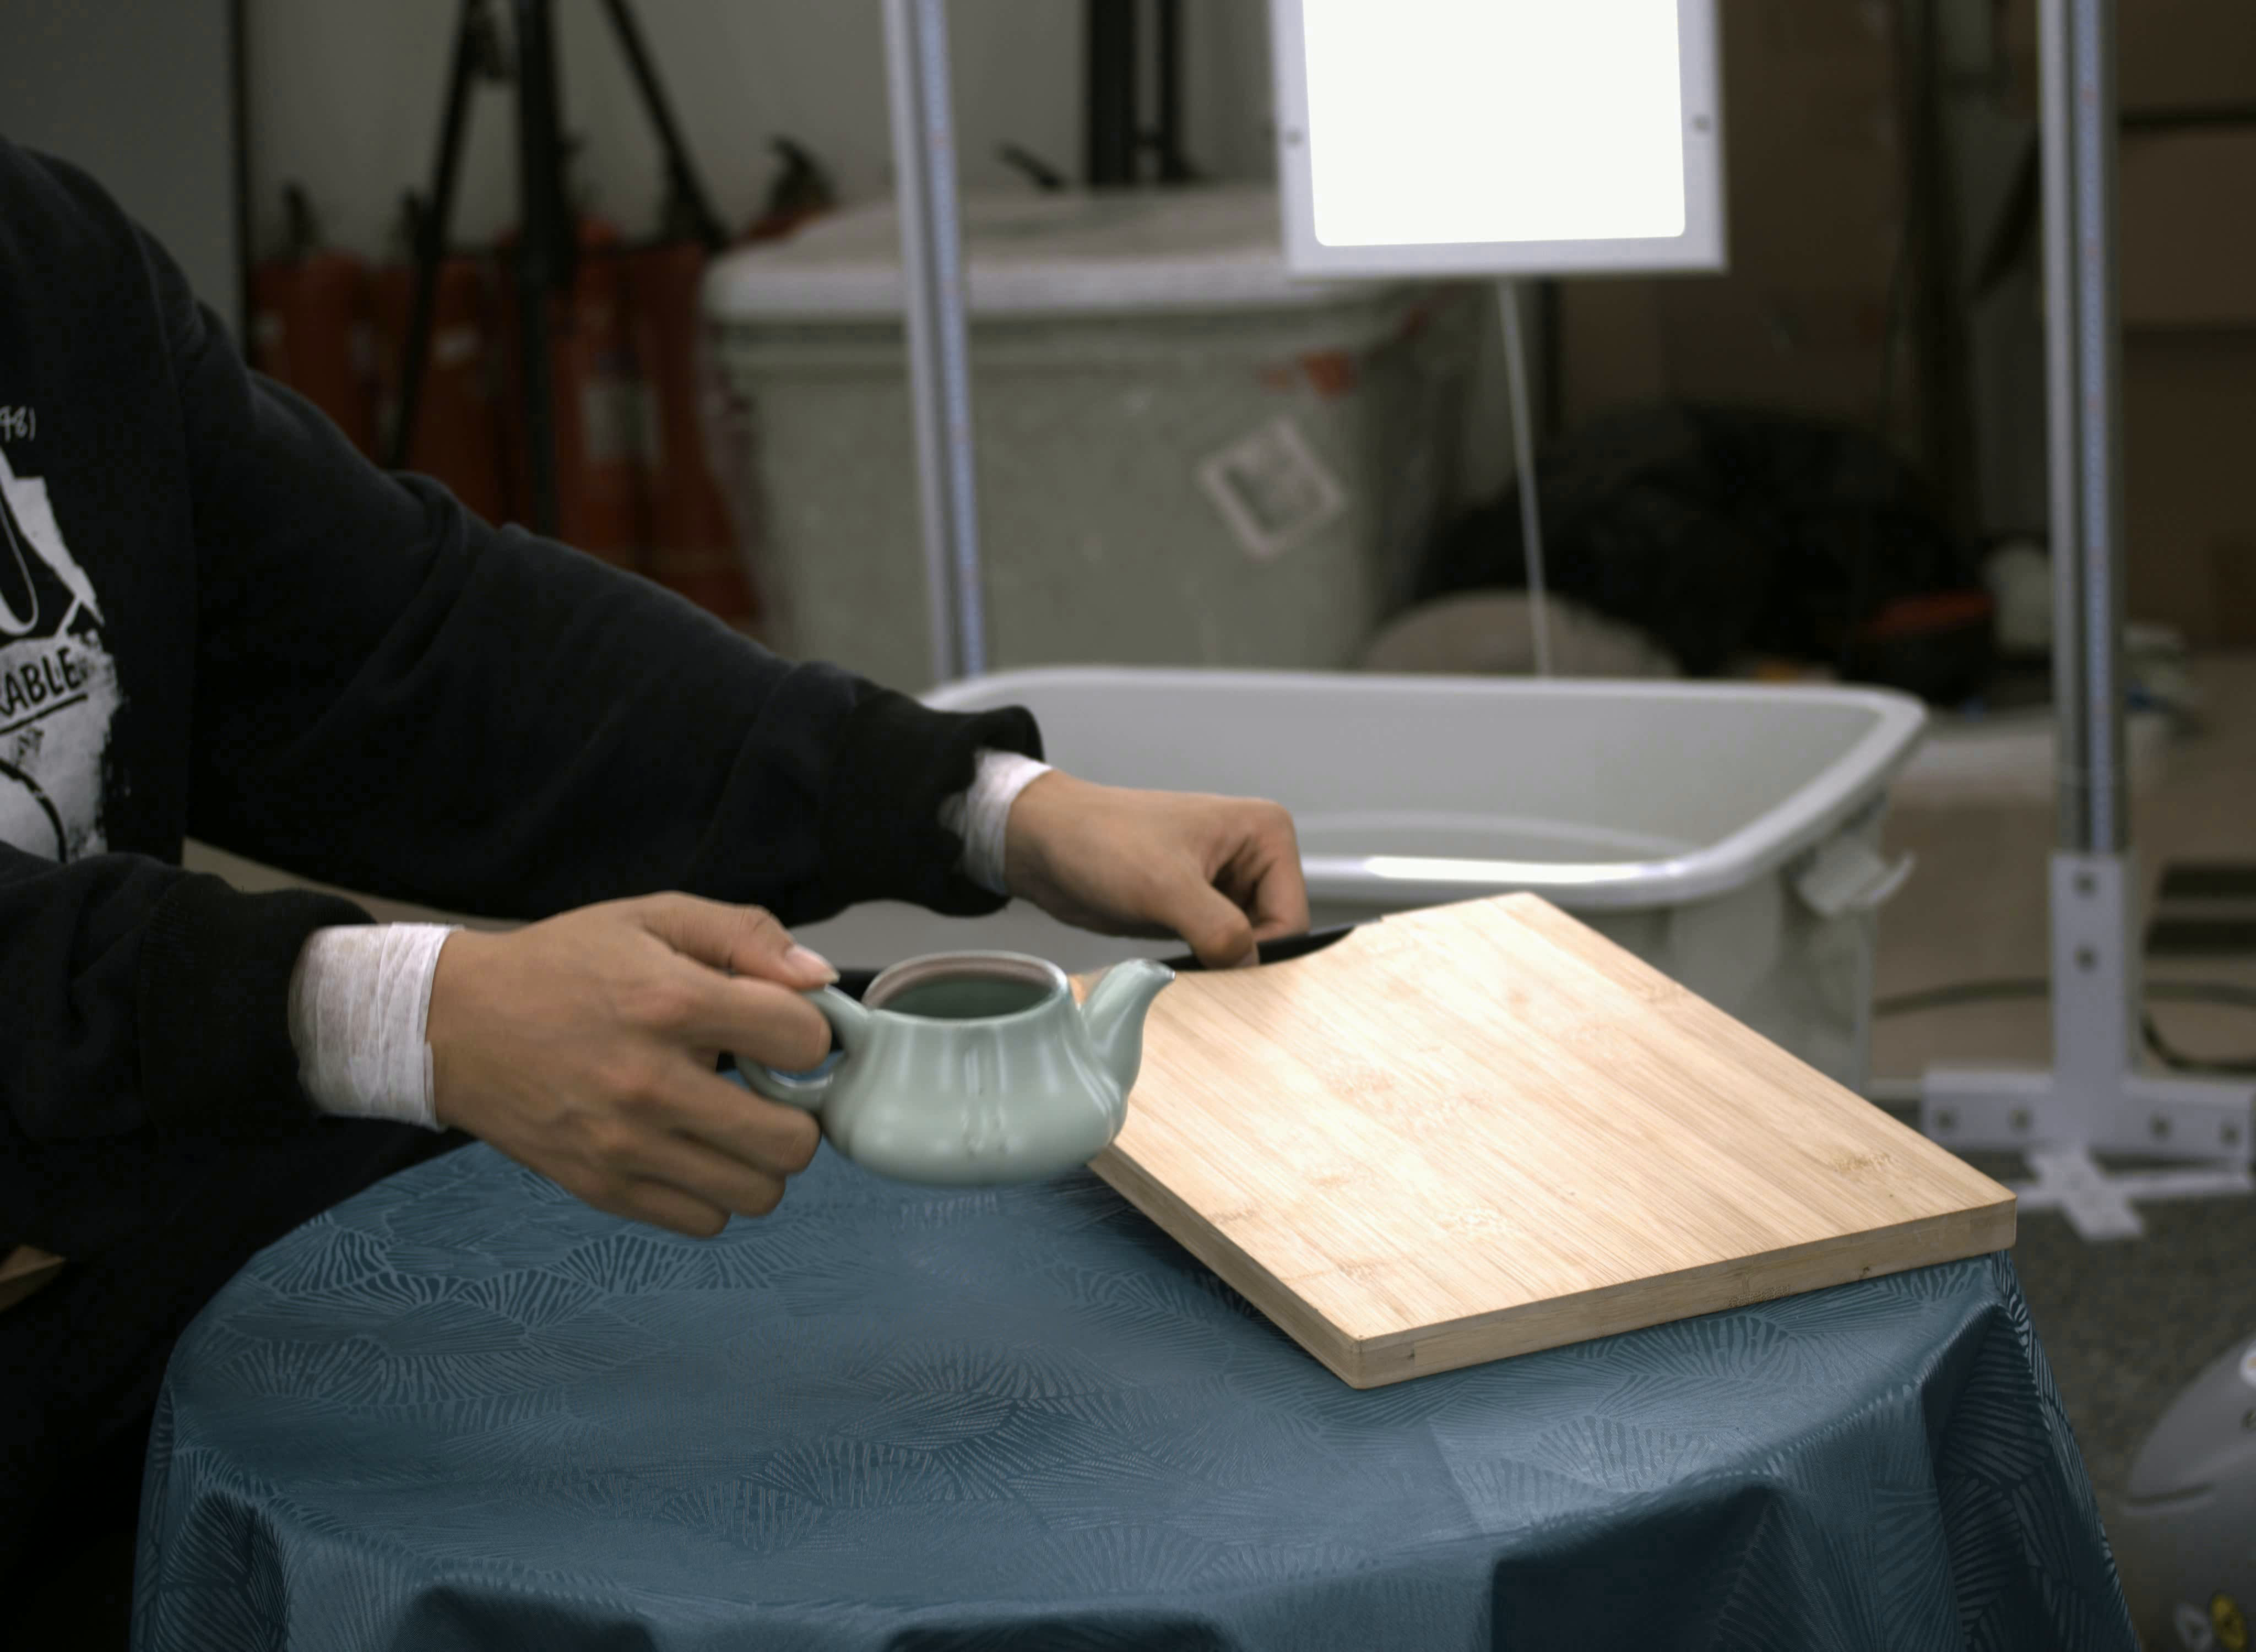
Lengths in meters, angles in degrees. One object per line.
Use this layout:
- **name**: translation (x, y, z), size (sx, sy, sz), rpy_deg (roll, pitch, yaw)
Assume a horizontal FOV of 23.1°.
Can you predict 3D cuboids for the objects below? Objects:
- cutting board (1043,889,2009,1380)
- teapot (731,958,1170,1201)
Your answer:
- **cutting board**: translation (0.109, 0.099, 1.876), size (0.246, 0.024, 0.353), rpy_deg (-11, 20, -22)
- **teapot**: translation (-0.054, 0.077, 1.691), size (0.136, 0.062, 0.096), rpy_deg (-4, 21, -7)
